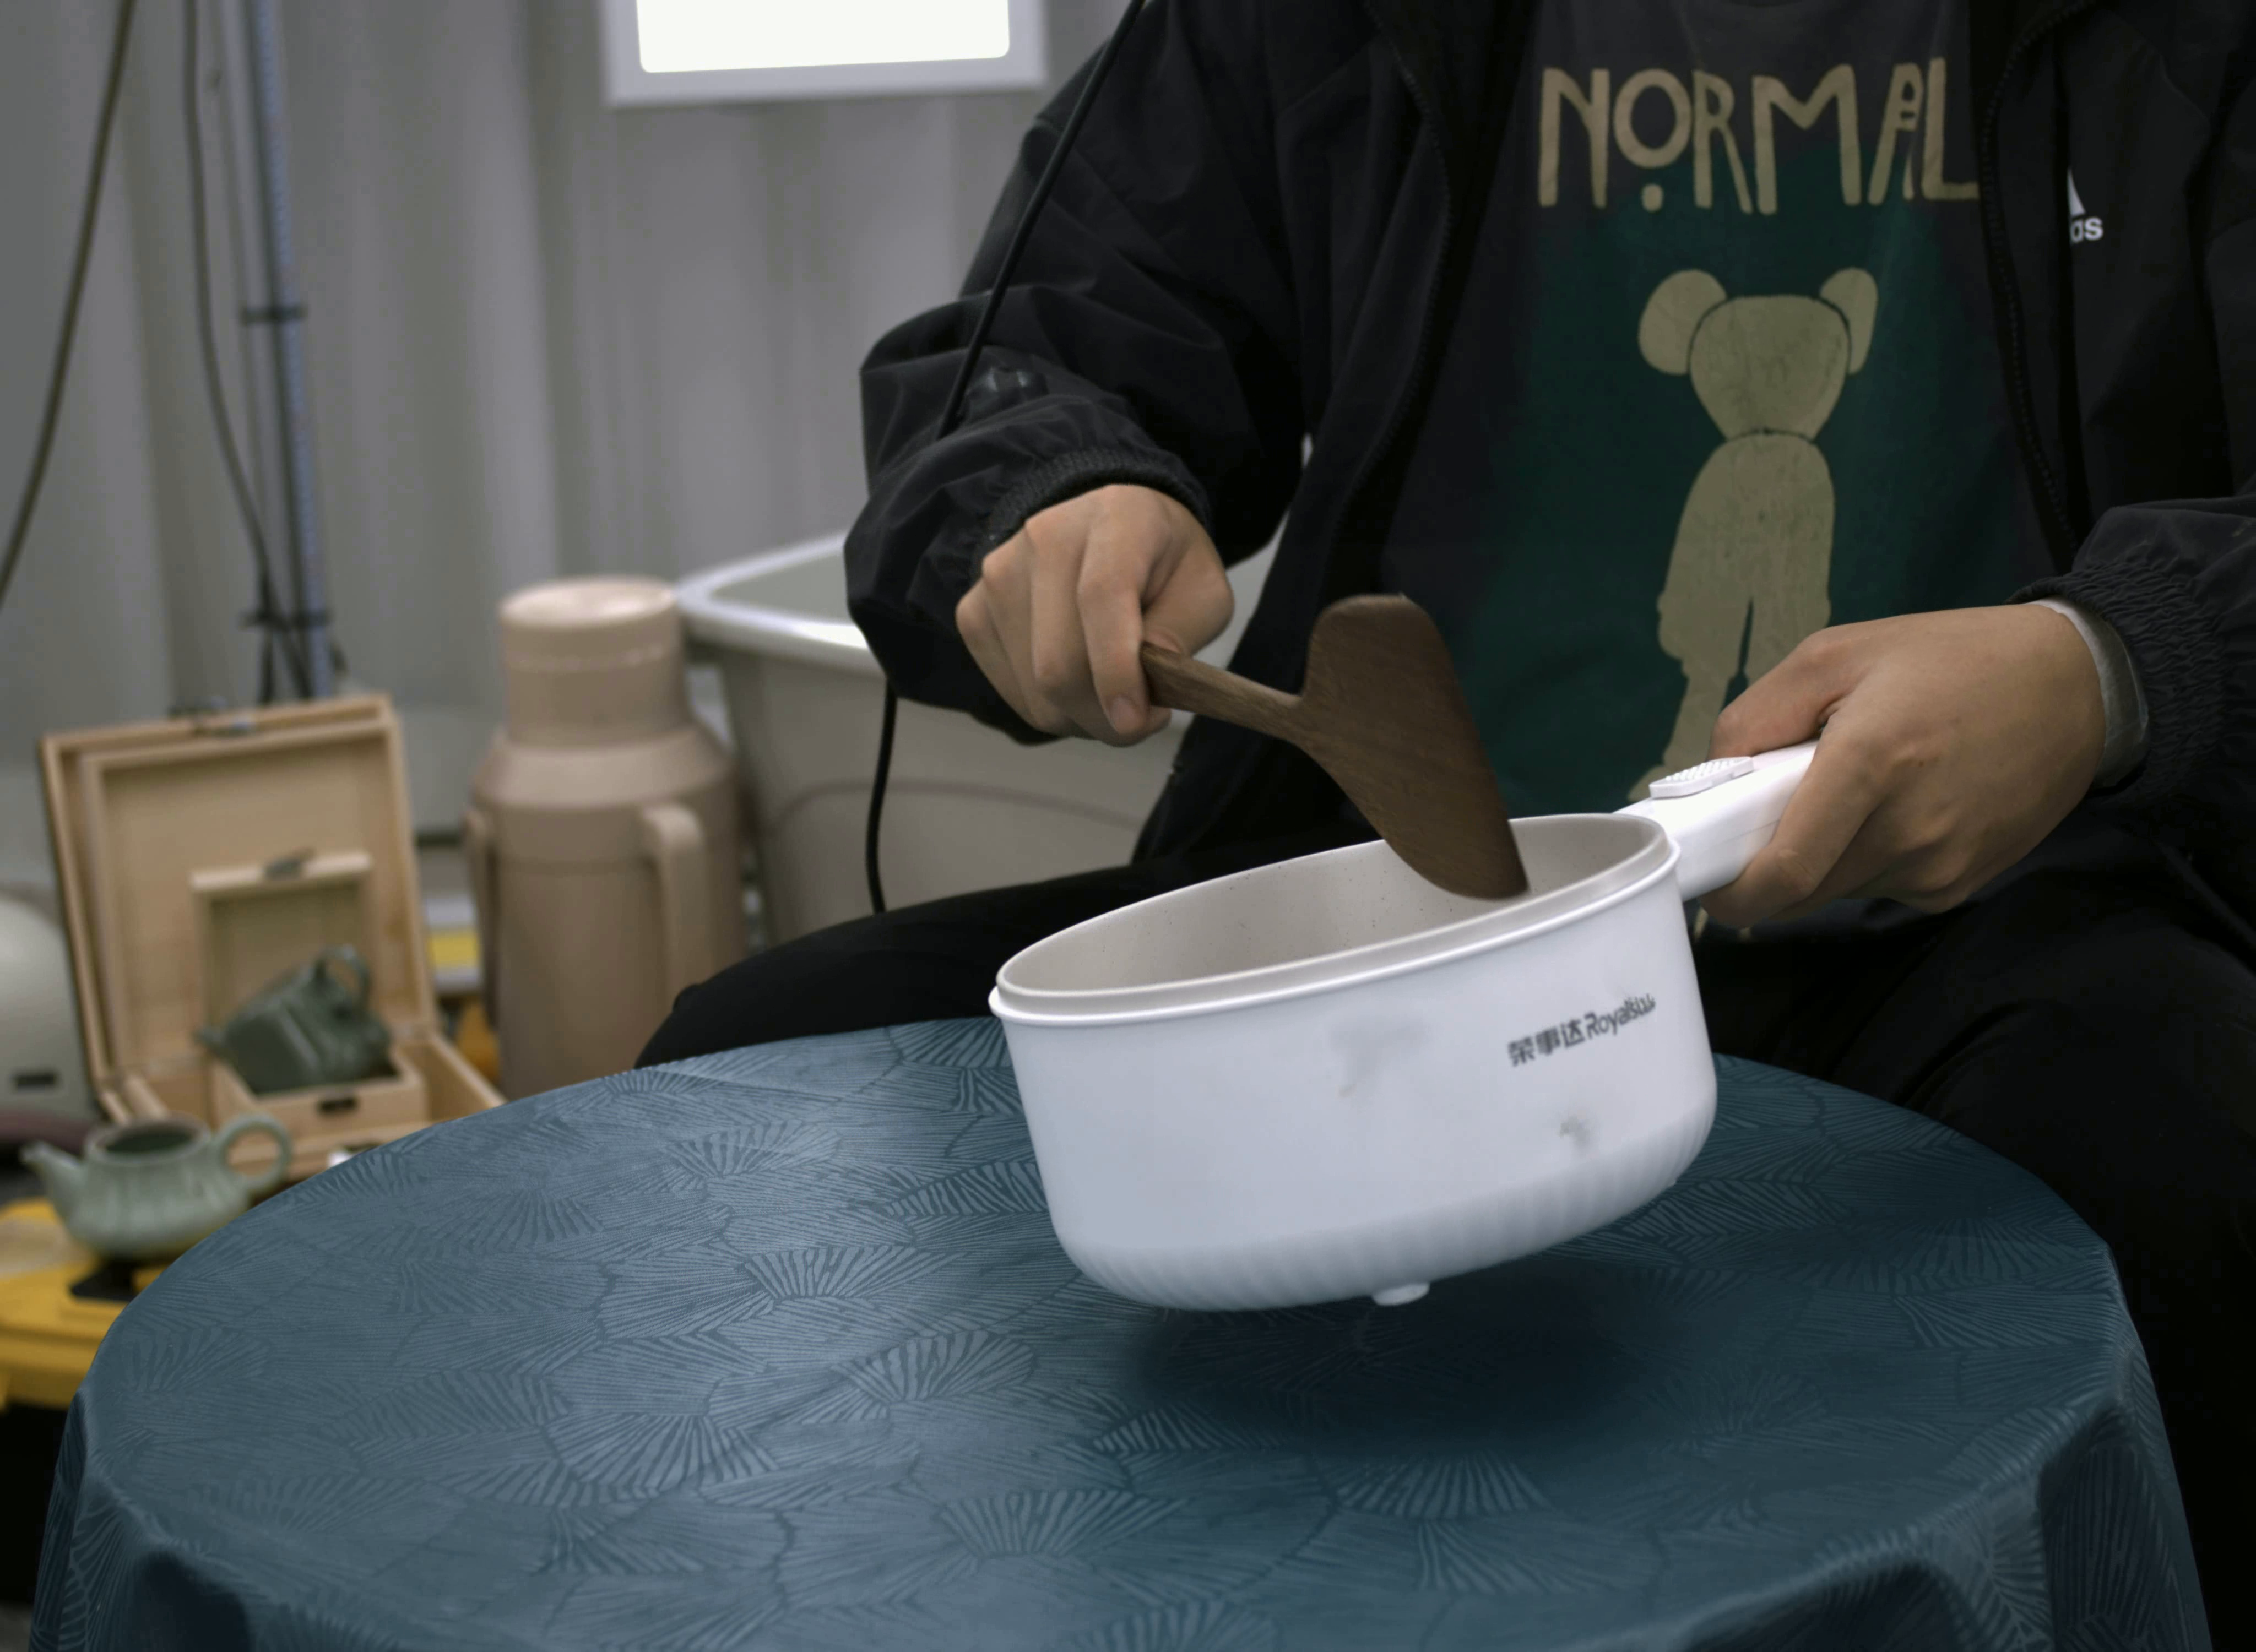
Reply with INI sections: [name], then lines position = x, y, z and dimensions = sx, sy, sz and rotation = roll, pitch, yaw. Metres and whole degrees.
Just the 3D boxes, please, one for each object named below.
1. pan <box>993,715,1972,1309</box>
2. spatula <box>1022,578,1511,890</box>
[pan]
position = 0.125, 0.053, 1.605
dimensions = 0.354, 0.102, 0.201
rotation = -17, 8, -40
[spatula]
position = 0.032, -0.043, 1.705
dimensions = 0.016, 0.096, 0.388
rotation = -23, 13, -15
